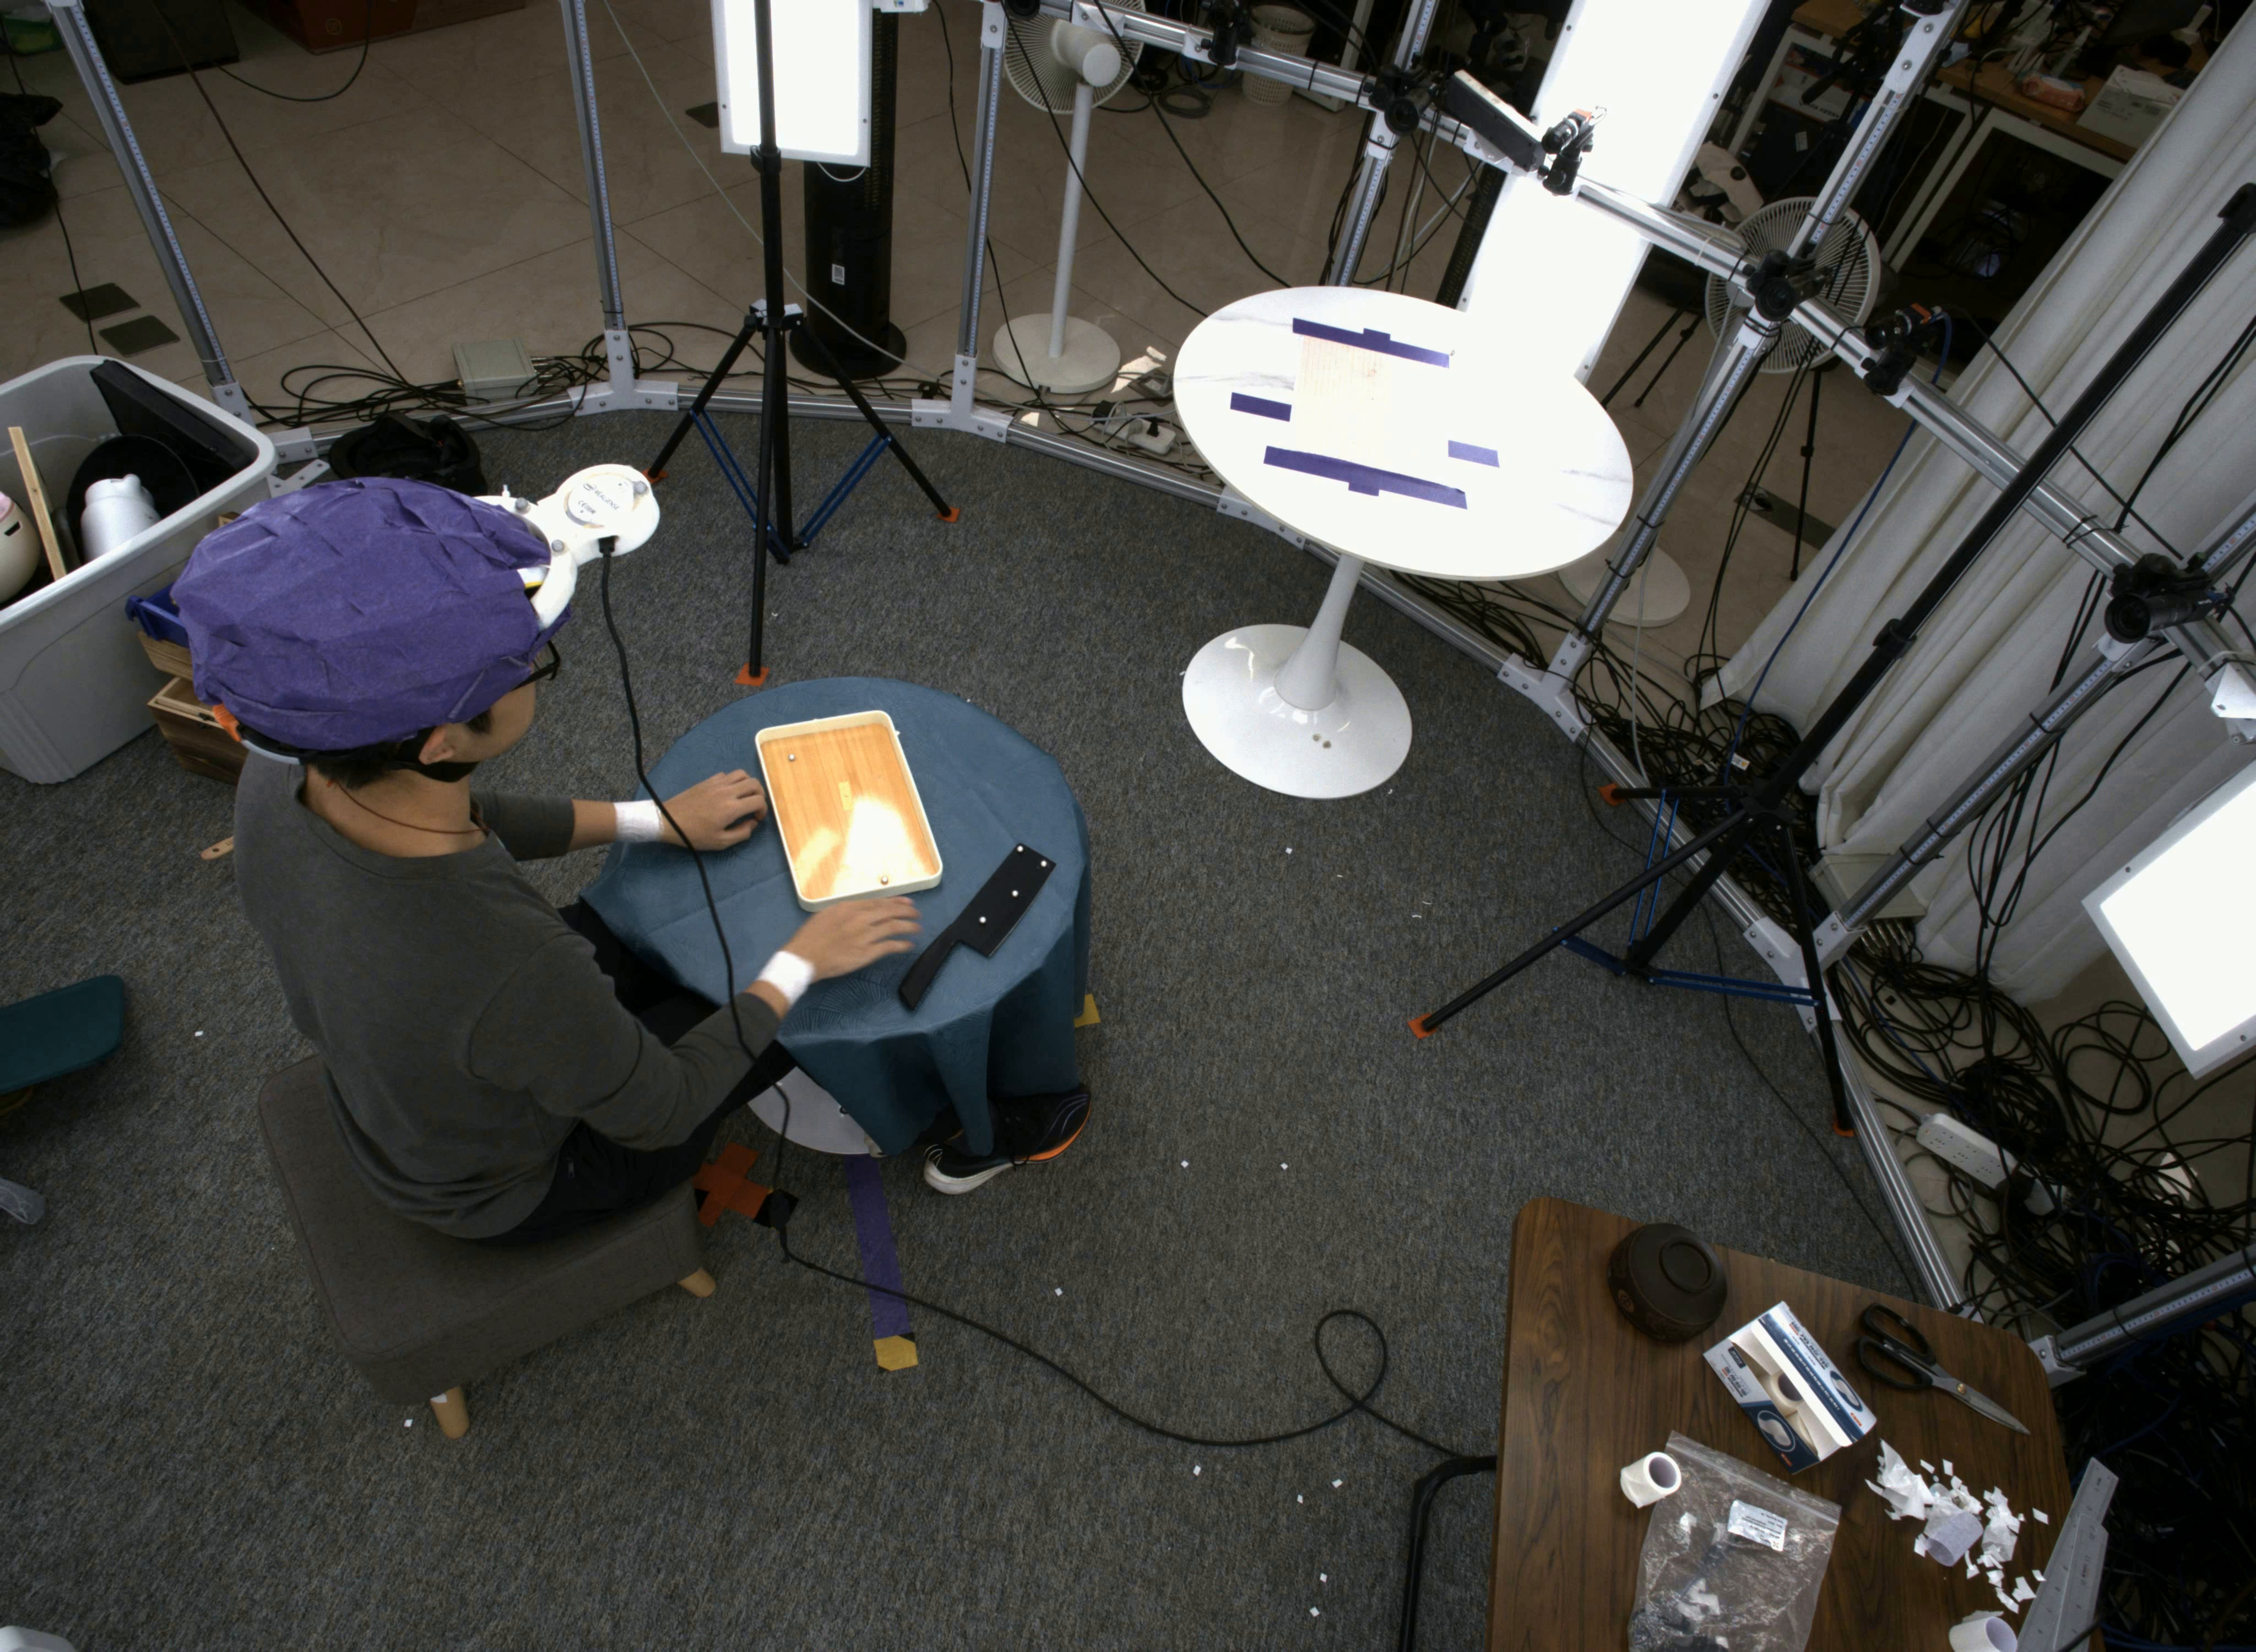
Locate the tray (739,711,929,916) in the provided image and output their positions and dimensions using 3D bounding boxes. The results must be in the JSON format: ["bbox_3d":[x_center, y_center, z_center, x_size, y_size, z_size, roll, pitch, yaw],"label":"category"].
[{"bbox_3d":[-0.398,-0.025,1.743,0.192,0.028,0.293,-12,58,-22],"label":"tray"}]

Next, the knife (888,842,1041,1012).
[{"bbox_3d":[-0.211,0.127,1.687,0.079,0.021,0.301,33,51,9],"label":"knife"}]
